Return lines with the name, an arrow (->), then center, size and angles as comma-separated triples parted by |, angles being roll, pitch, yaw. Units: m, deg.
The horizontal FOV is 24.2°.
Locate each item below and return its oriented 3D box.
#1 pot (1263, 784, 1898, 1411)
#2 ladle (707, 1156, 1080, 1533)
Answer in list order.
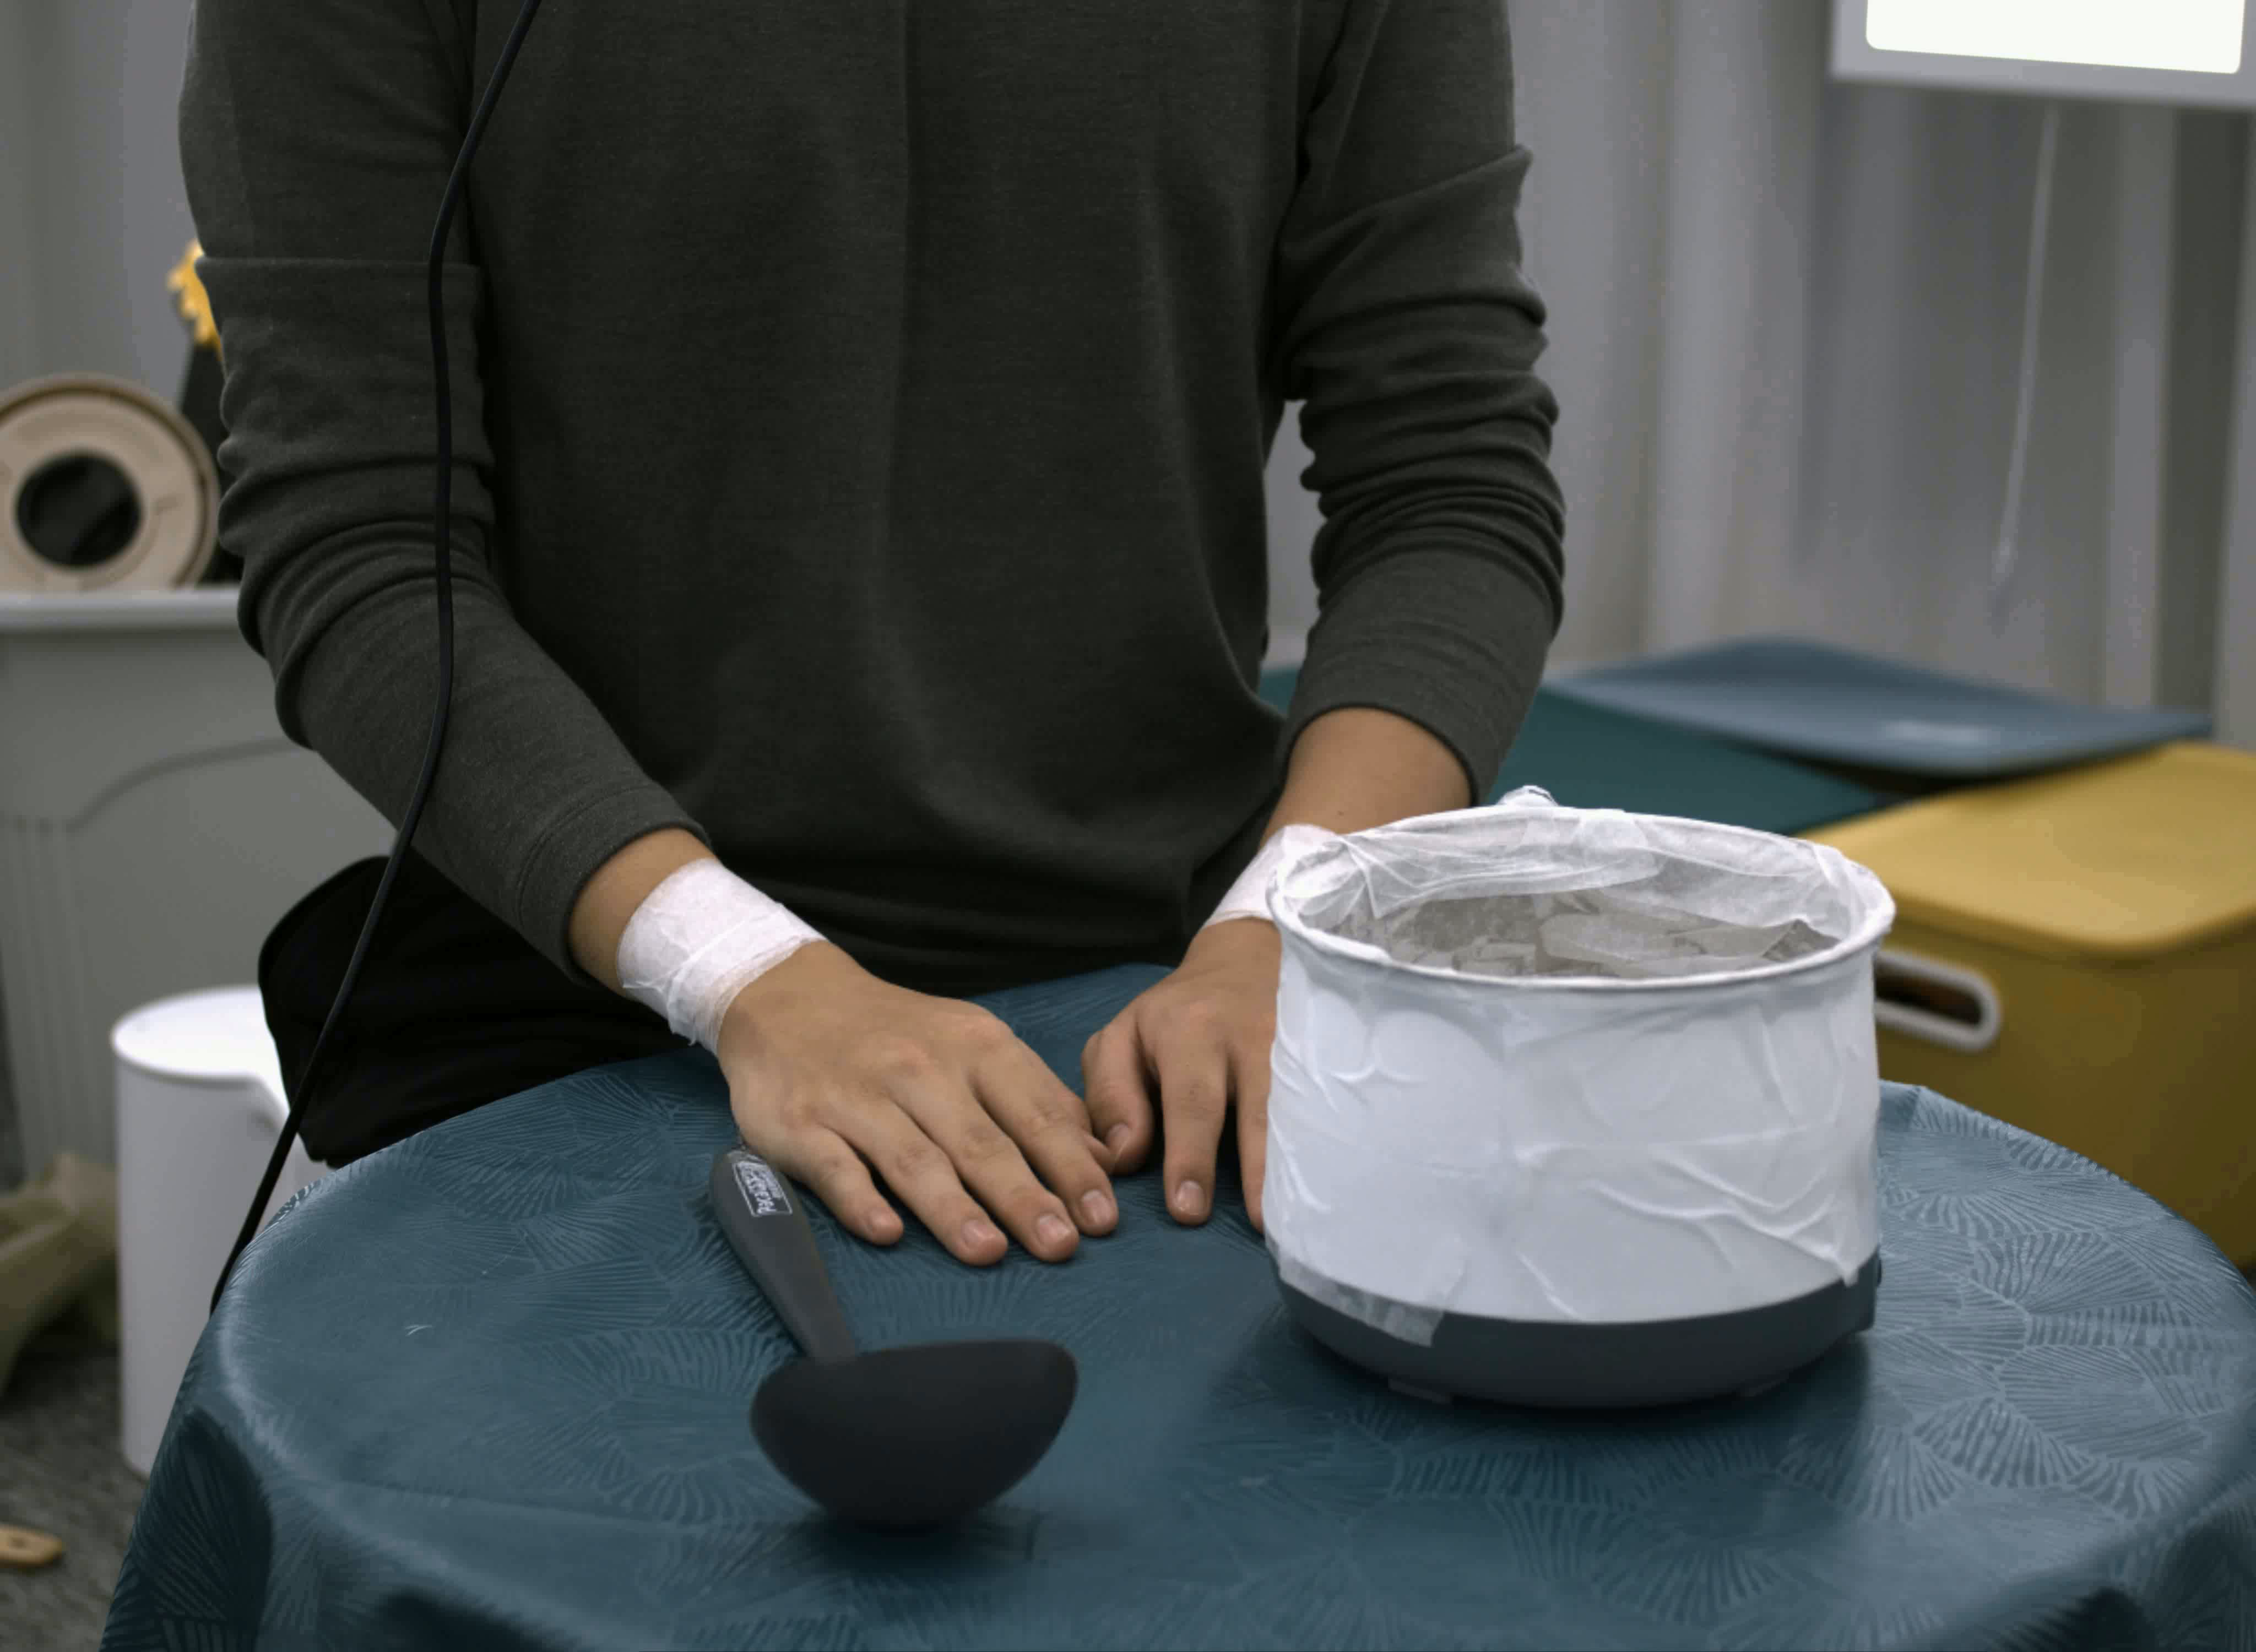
pot -> 0.124, 0.072, 1.518 | 0.178, 0.138, 0.232 | -1, 15, -5
ladle -> -0.085, 0.123, 1.466 | 0.086, 0.064, 0.311 | 2, 15, -14
